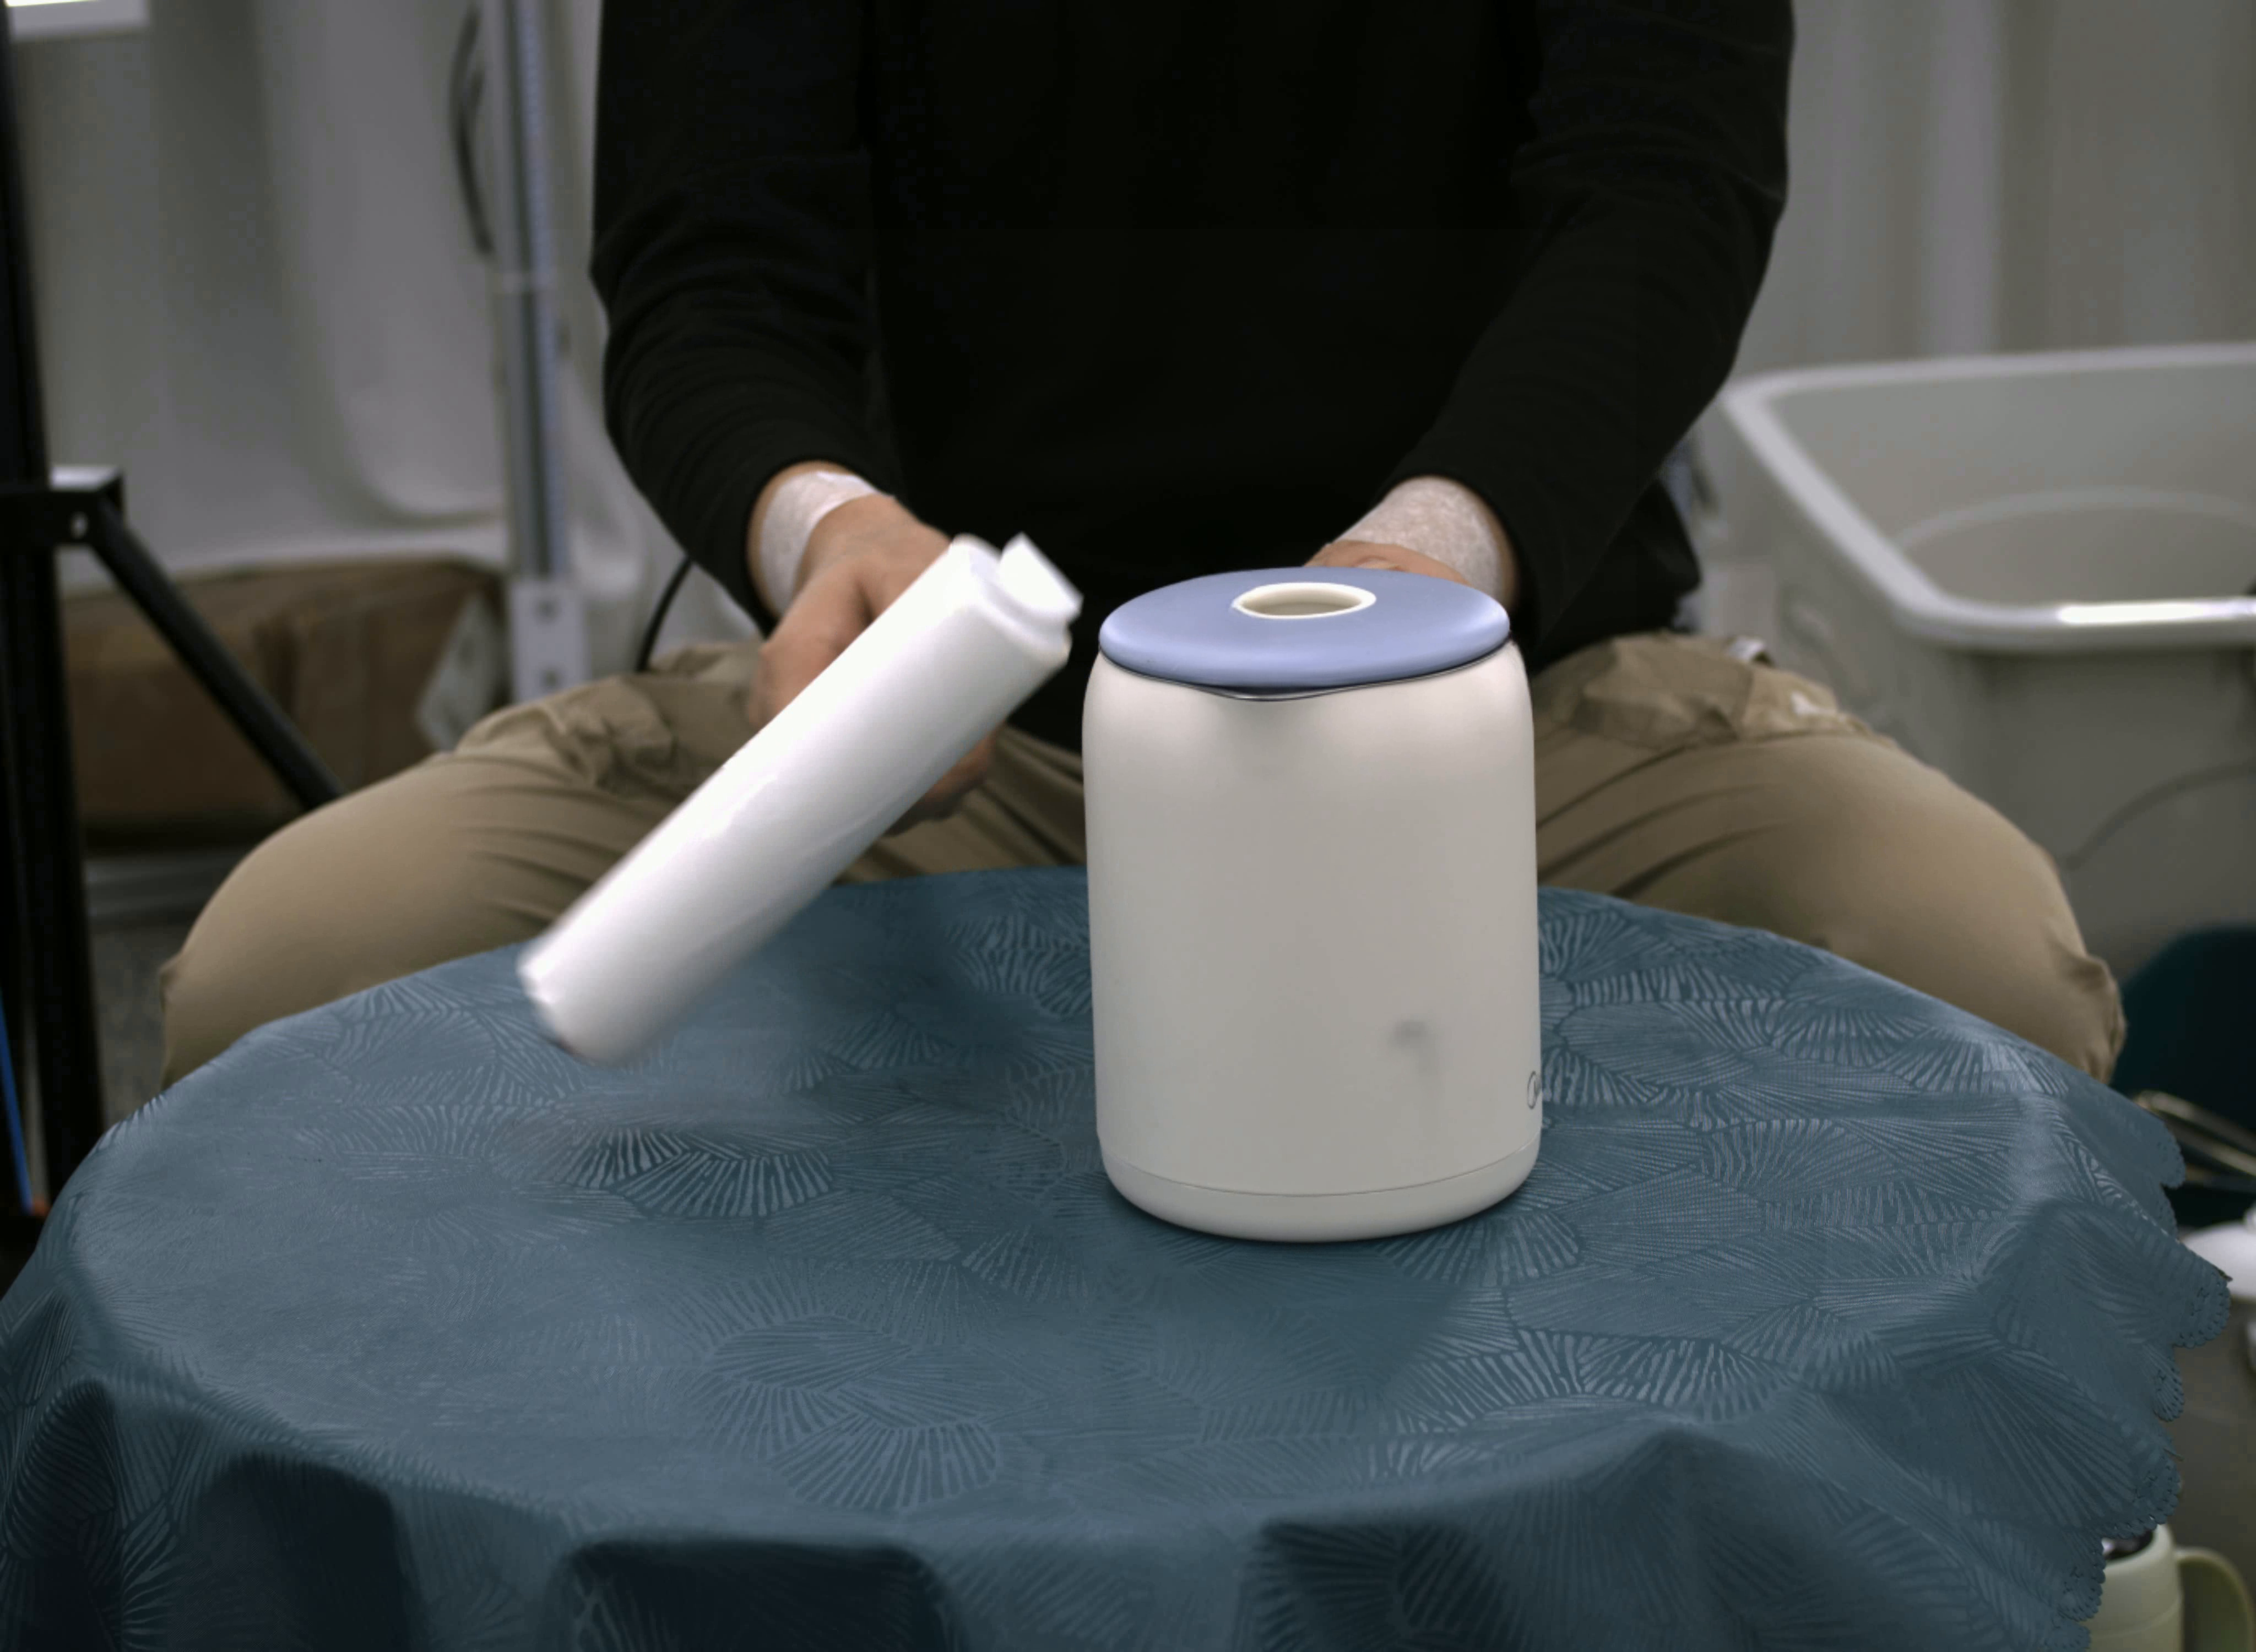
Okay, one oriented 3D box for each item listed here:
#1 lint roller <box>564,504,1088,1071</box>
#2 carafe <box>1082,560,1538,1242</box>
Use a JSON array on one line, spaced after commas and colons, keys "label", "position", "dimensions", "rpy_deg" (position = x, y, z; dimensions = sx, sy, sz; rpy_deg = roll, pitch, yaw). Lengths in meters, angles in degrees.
[{"label": "lint roller", "position": [-0.080, -0.031, 1.668], "dimensions": [0.048, 0.204, 0.225], "rpy_deg": [41, 17, -4]}, {"label": "carafe", "position": [0.058, 0.015, 1.563], "dimensions": [0.133, 0.182, 0.190], "rpy_deg": [1, 14, 11]}]
